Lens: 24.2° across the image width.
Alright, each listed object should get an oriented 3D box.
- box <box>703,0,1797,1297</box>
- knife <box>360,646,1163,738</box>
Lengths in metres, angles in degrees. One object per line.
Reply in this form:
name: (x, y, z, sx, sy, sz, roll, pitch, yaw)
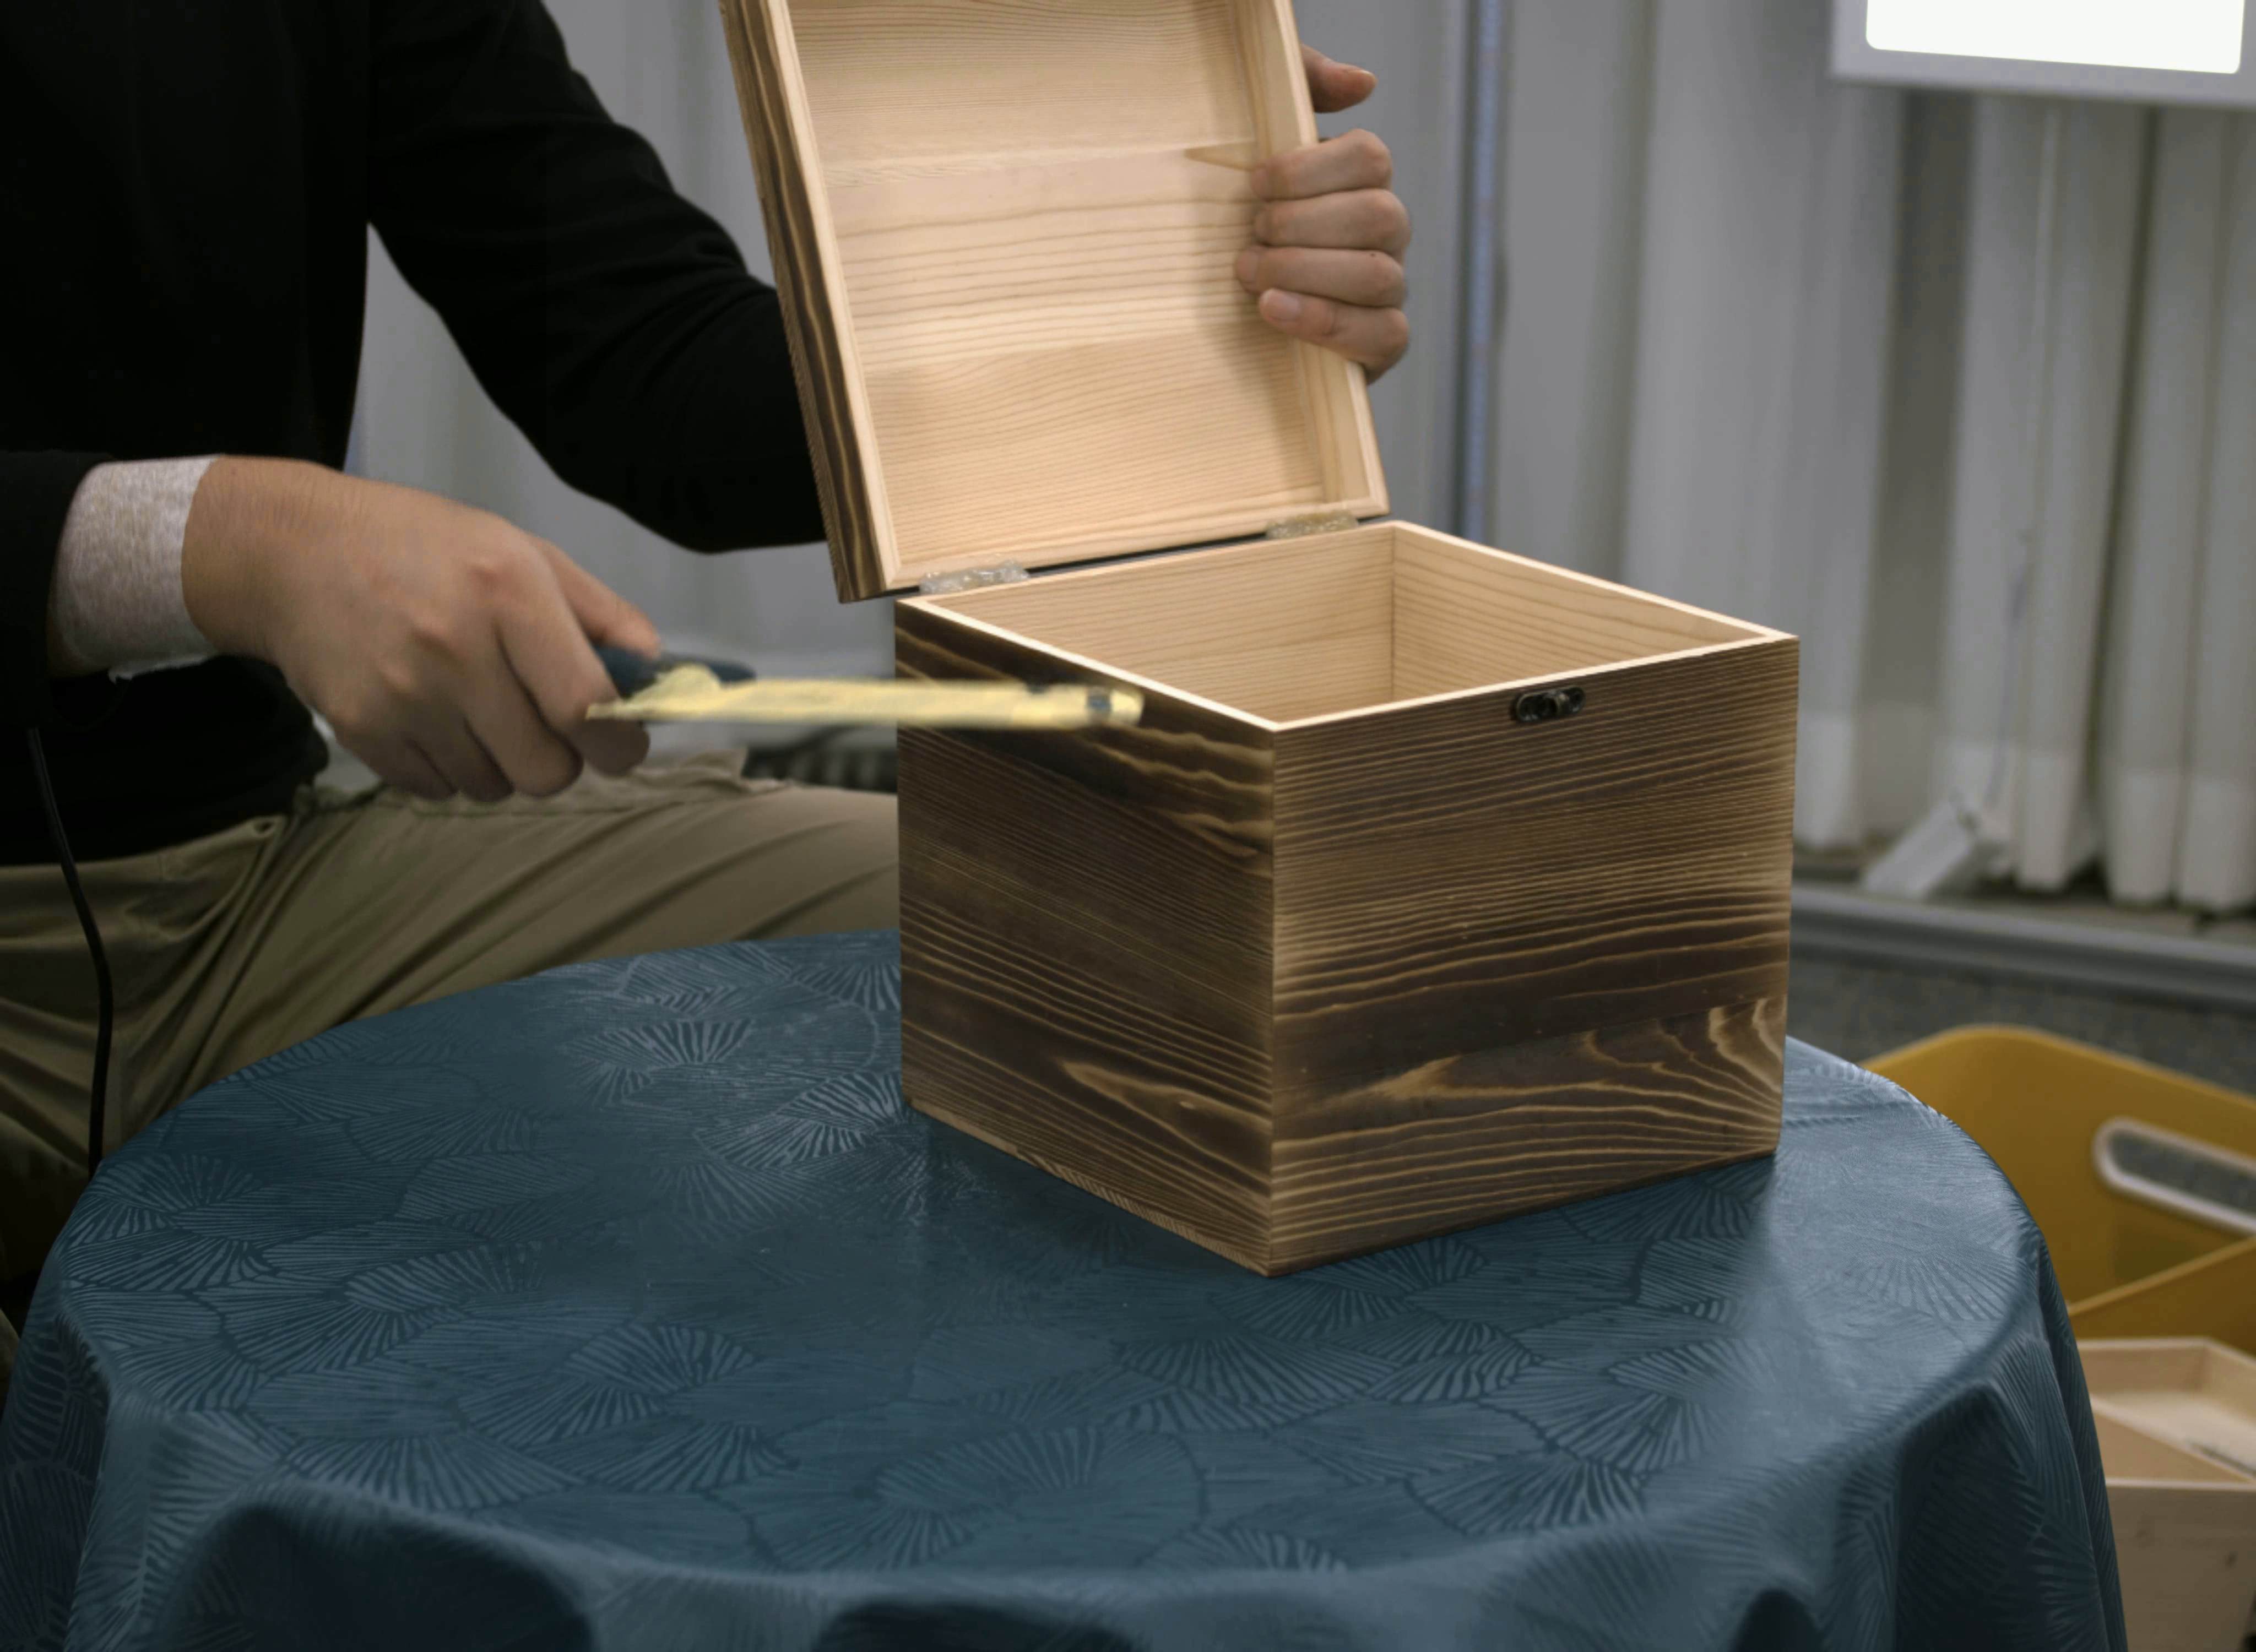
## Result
box: (0.034, -0.087, 1.666, 0.210, 0.378, 0.318, -12, 19, -34)
knife: (-0.115, -0.041, 1.527, 0.286, 0.027, 0.081, -1, 4, 31)
